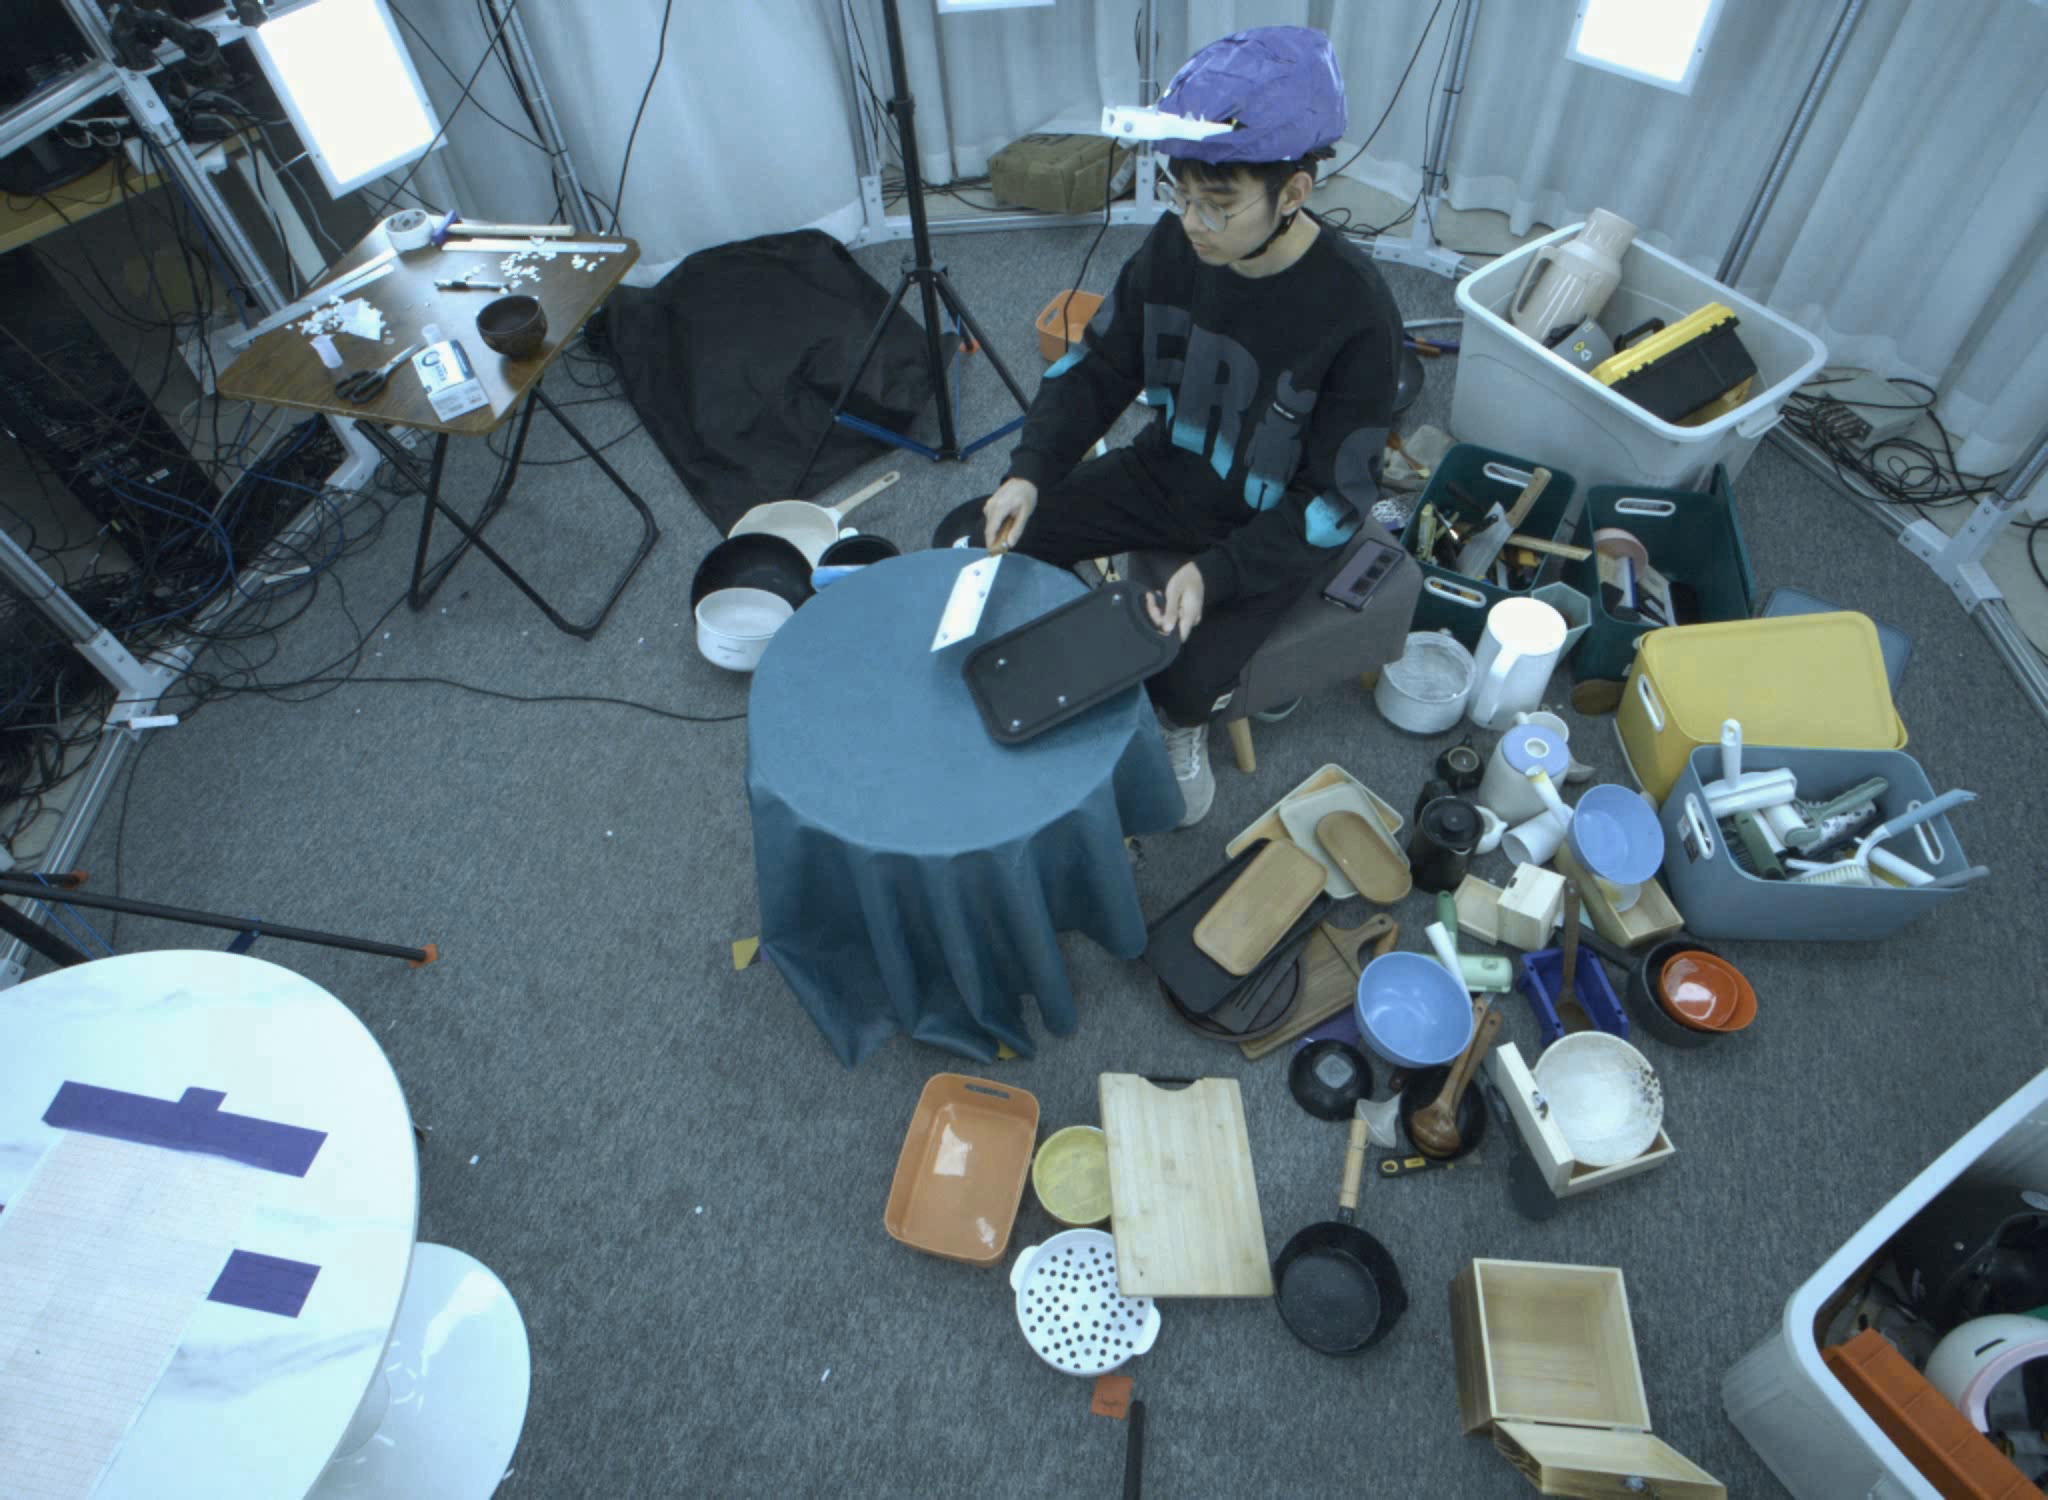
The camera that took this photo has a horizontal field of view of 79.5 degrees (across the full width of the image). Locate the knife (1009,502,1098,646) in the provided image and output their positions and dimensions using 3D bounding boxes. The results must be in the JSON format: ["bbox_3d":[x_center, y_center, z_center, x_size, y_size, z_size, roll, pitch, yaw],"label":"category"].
[{"bbox_3d":[0.043,-0.274,1.901,0.091,0.021,0.305,-12,43,37],"label":"knife"}]

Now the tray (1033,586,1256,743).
[{"bbox_3d":[0.179,-0.136,1.823,0.325,0.010,0.207,-23,51,1],"label":"tray"}]
